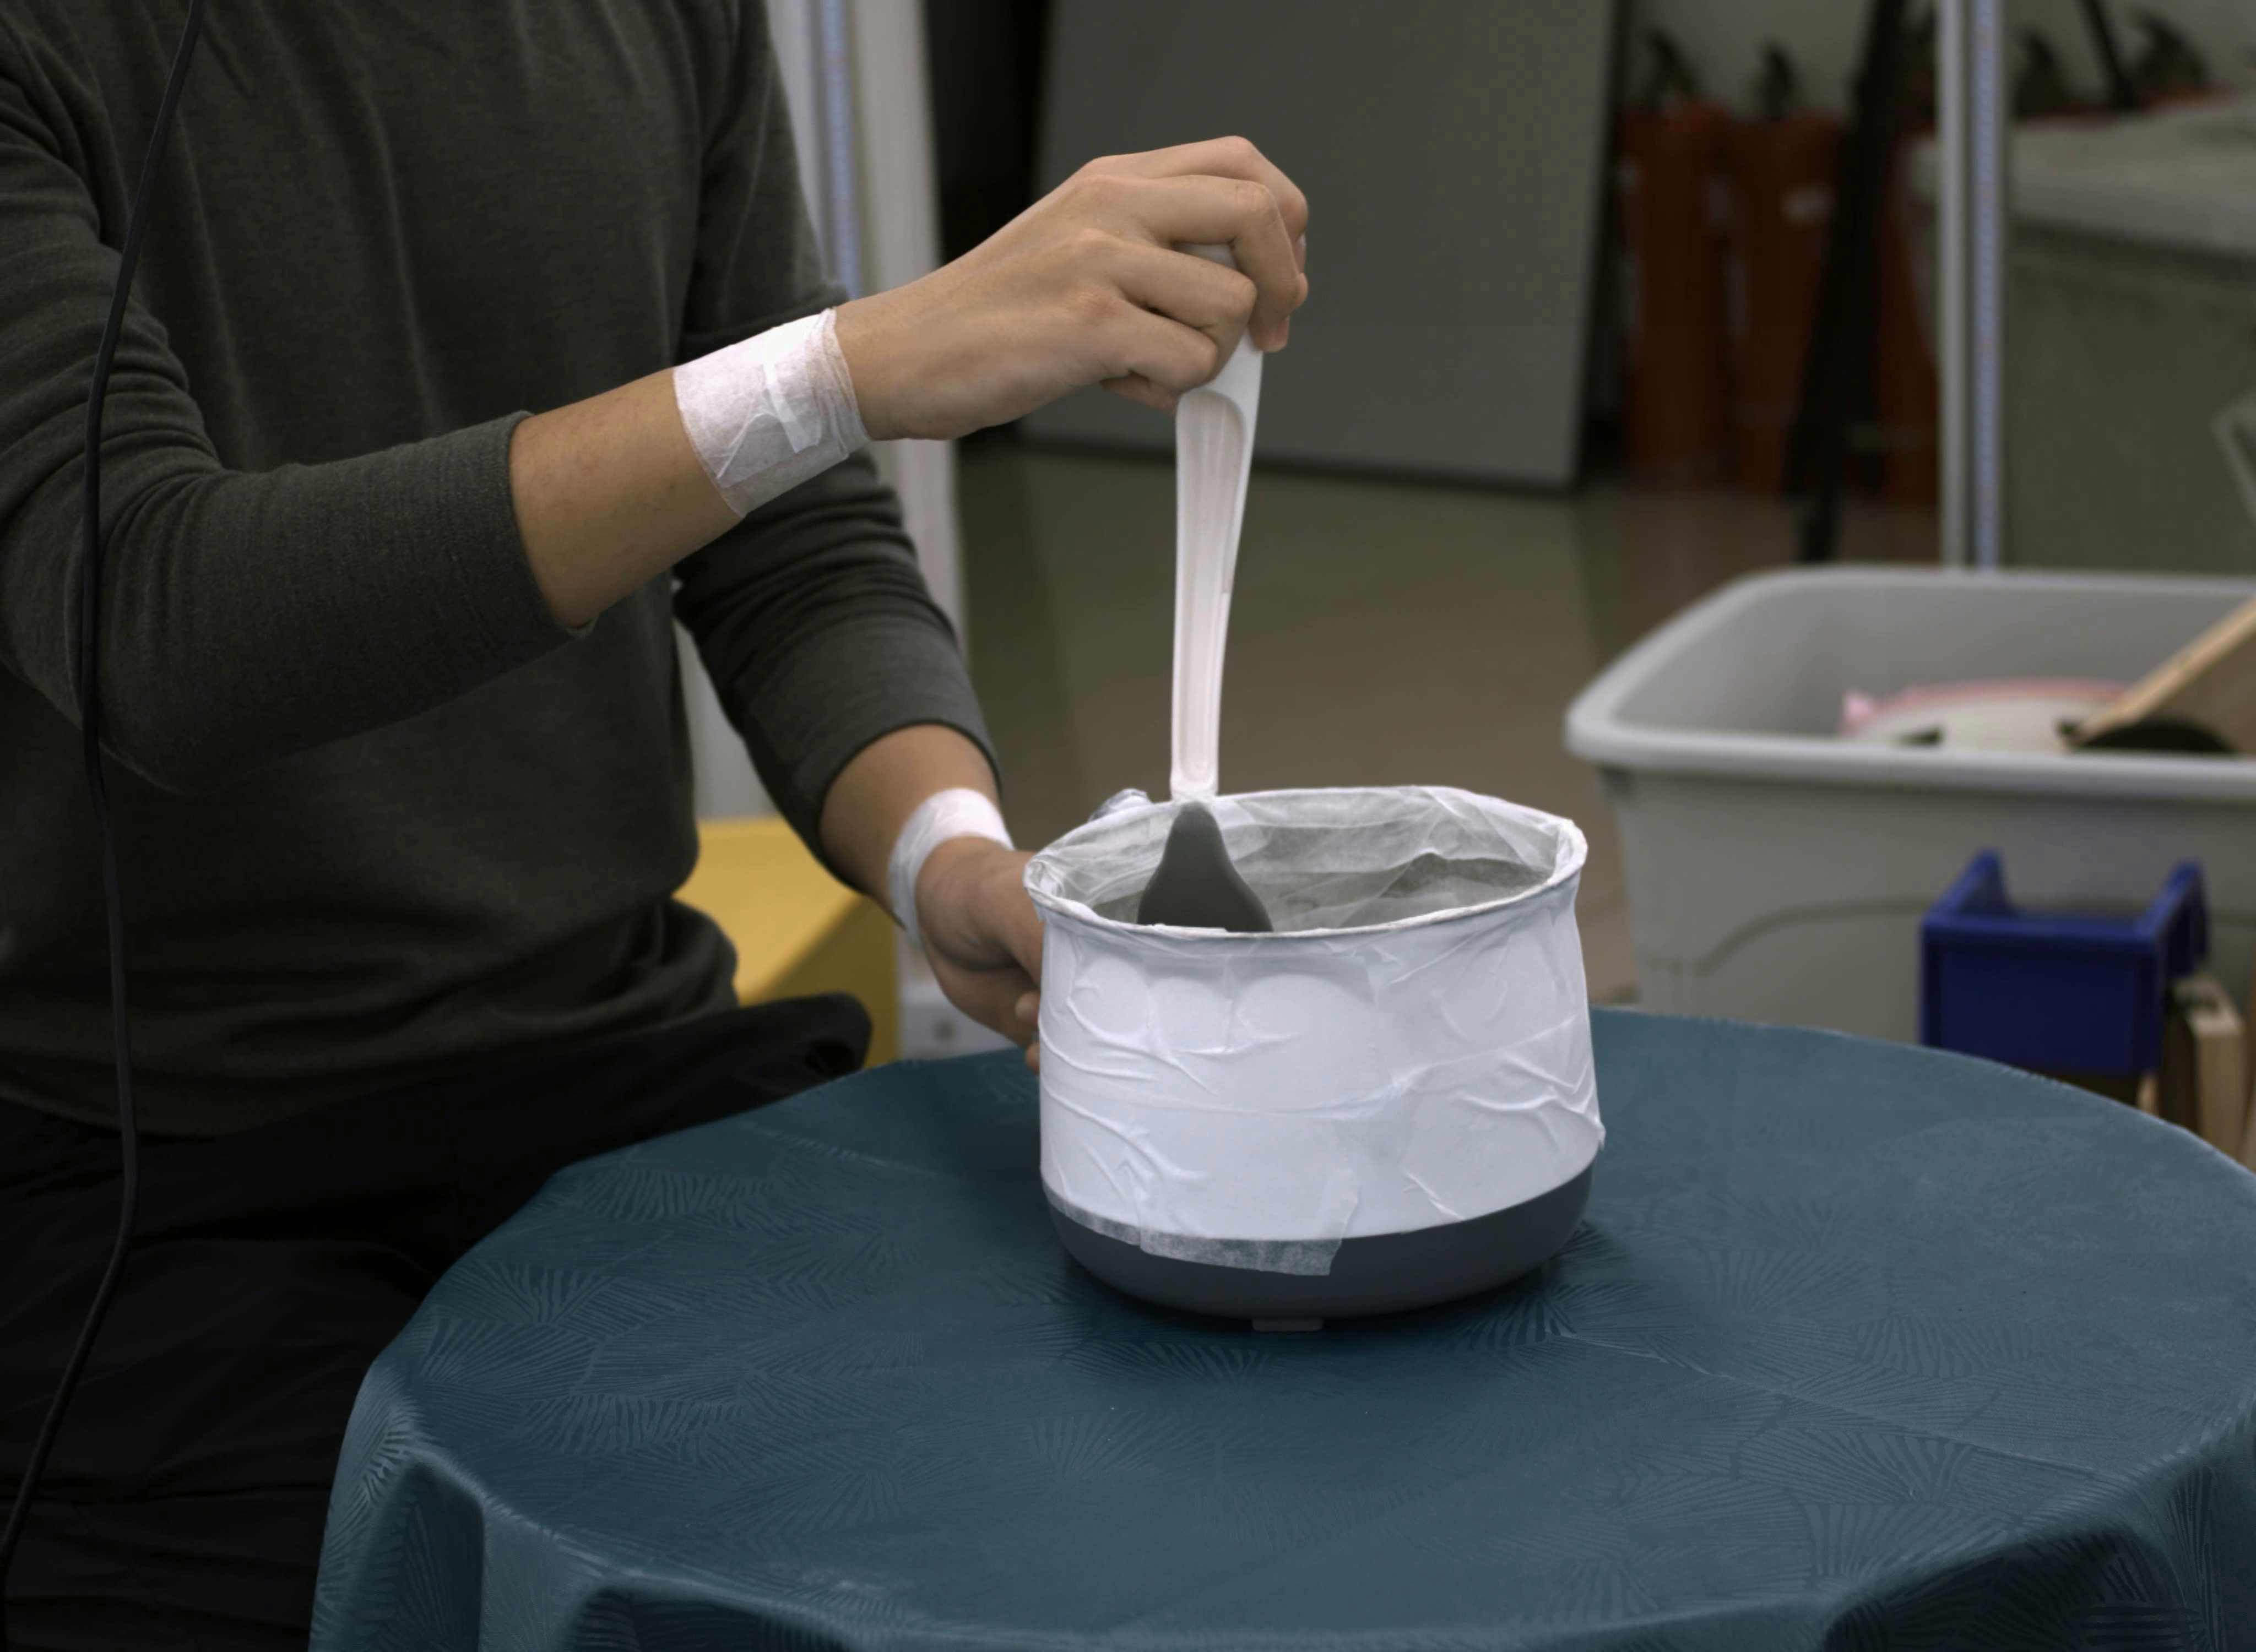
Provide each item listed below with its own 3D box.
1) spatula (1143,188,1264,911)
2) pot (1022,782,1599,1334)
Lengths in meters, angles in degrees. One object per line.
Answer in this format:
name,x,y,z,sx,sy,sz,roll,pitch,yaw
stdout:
spatula,0.026,-0.050,1.667,0.059,0.291,0.032,2,7,28
pot,0.042,0.066,1.701,0.175,0.138,0.236,-12,15,-32
